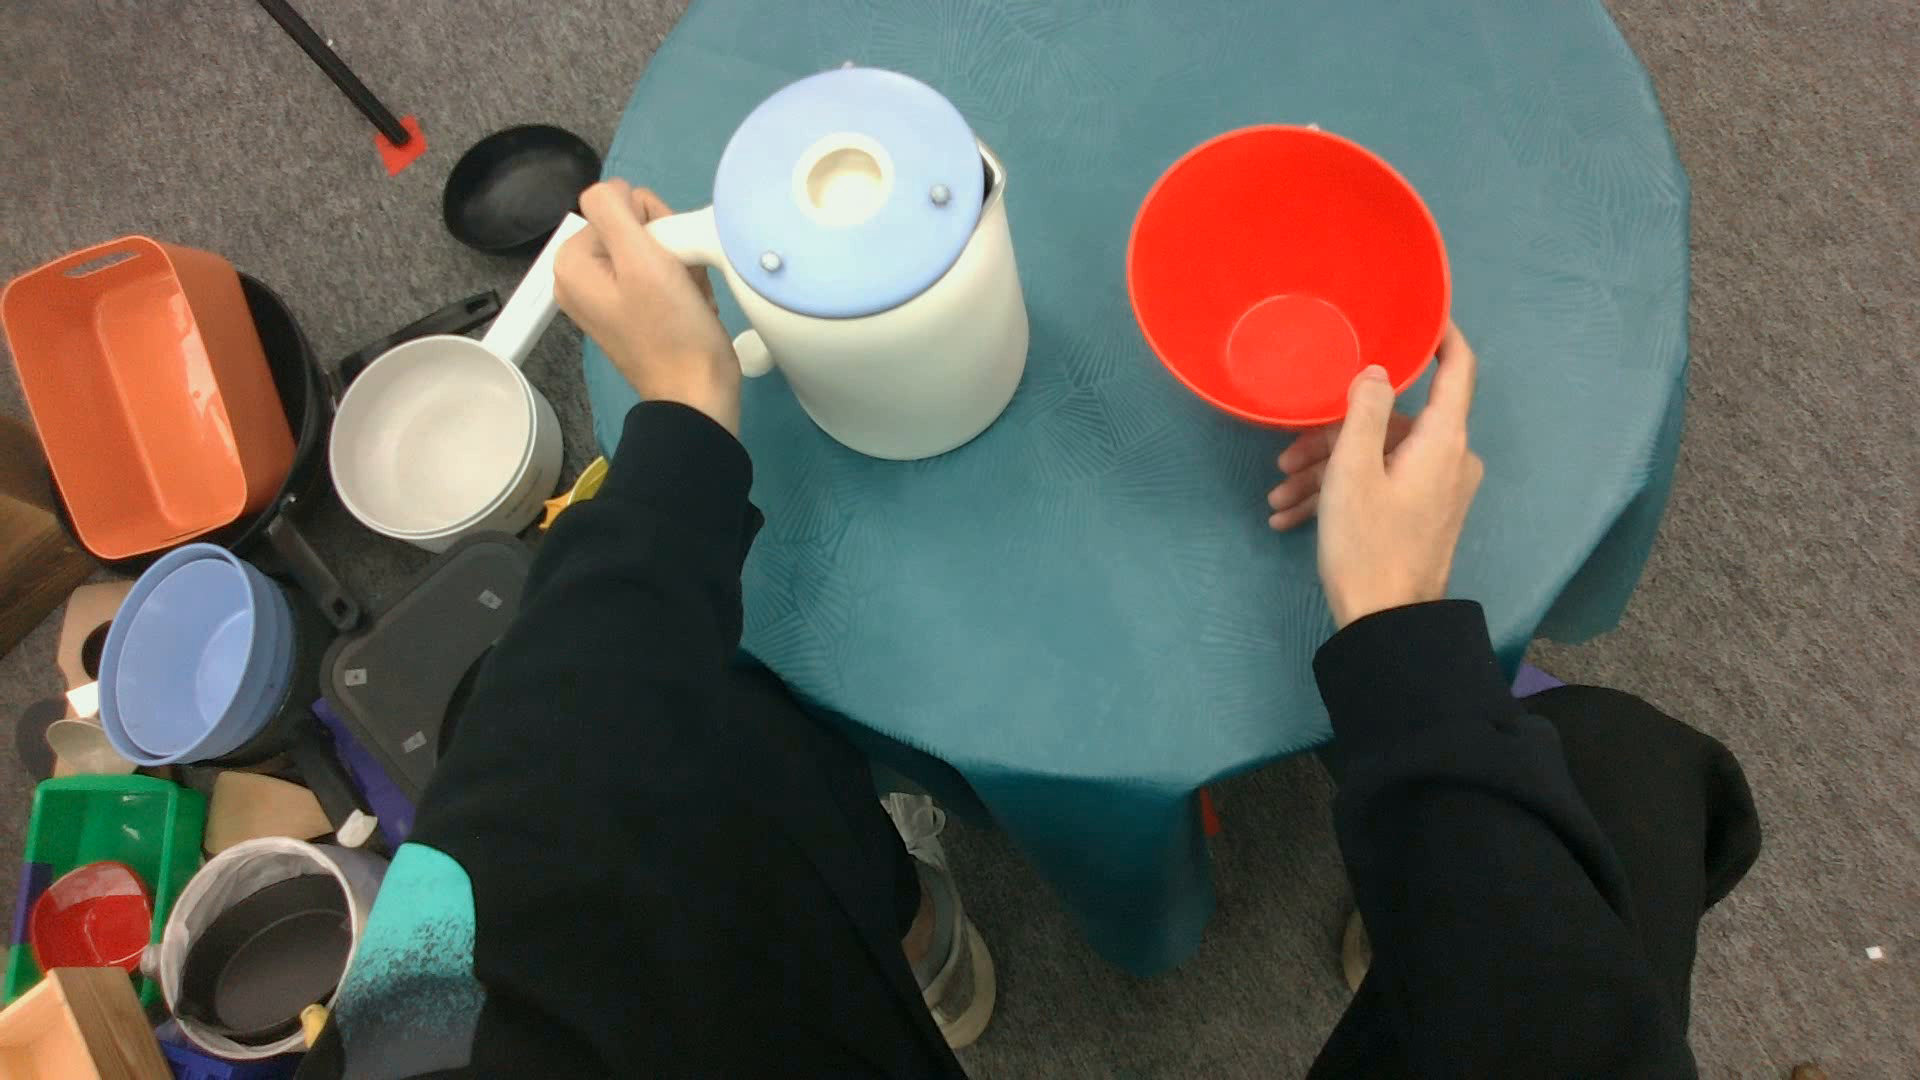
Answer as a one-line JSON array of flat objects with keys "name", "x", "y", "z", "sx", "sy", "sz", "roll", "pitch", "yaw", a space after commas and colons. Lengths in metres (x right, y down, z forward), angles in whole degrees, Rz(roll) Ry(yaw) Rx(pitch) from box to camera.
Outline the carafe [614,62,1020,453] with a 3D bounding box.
[{"name": "carafe", "x": -0.067, "y": -0.127, "z": 0.671, "sx": 0.191, "sy": 0.182, "sz": 0.132, "roll": -8, "pitch": 71, "yaw": 7}]

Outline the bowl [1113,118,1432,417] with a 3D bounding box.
[{"name": "bowl", "x": 0.151, "y": -0.119, "z": 0.678, "sx": 0.148, "sy": 0.104, "sz": 0.148, "roll": -2, "pitch": 73, "yaw": 7}]
